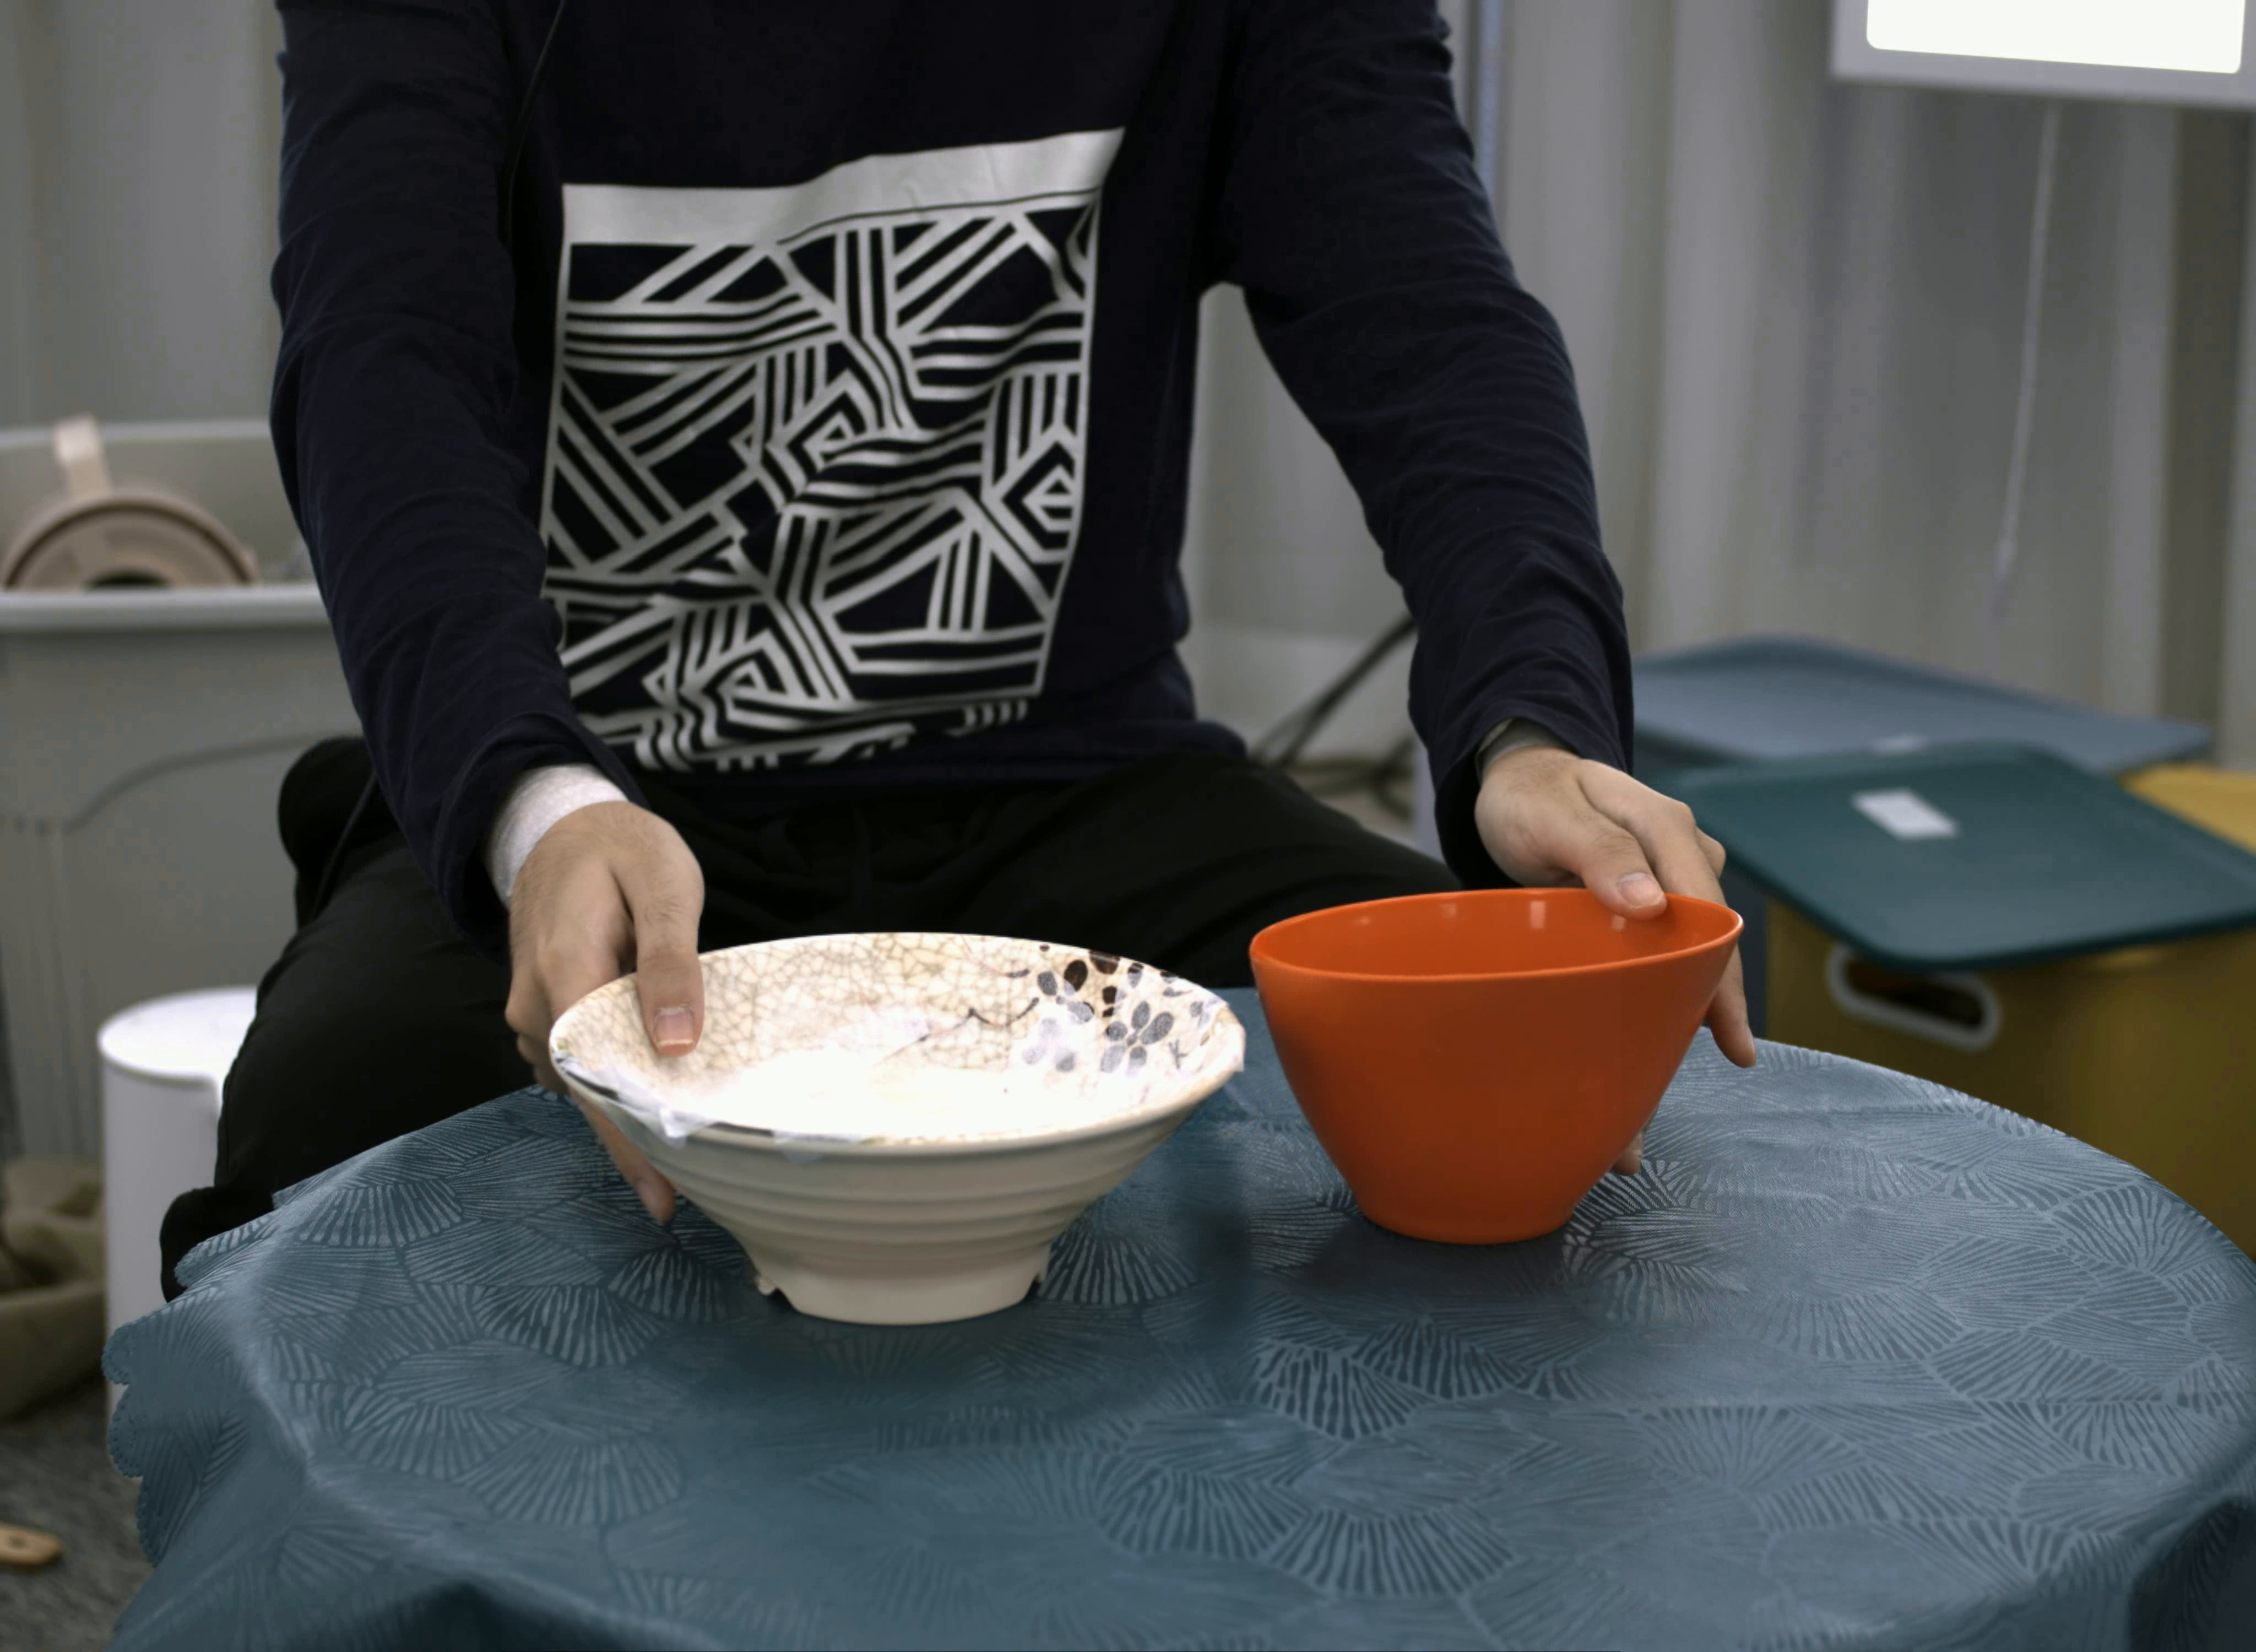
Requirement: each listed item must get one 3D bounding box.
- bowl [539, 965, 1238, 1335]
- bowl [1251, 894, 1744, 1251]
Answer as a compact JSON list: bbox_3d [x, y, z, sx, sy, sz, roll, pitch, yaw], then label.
[{"bbox_3d":[-0.070,0.099,1.537,0.203,0.078,0.203,2,11,0],"label":"bowl"},{"bbox_3d":[0.109,0.072,1.585,0.147,0.105,0.147,2,16,0],"label":"bowl"}]
